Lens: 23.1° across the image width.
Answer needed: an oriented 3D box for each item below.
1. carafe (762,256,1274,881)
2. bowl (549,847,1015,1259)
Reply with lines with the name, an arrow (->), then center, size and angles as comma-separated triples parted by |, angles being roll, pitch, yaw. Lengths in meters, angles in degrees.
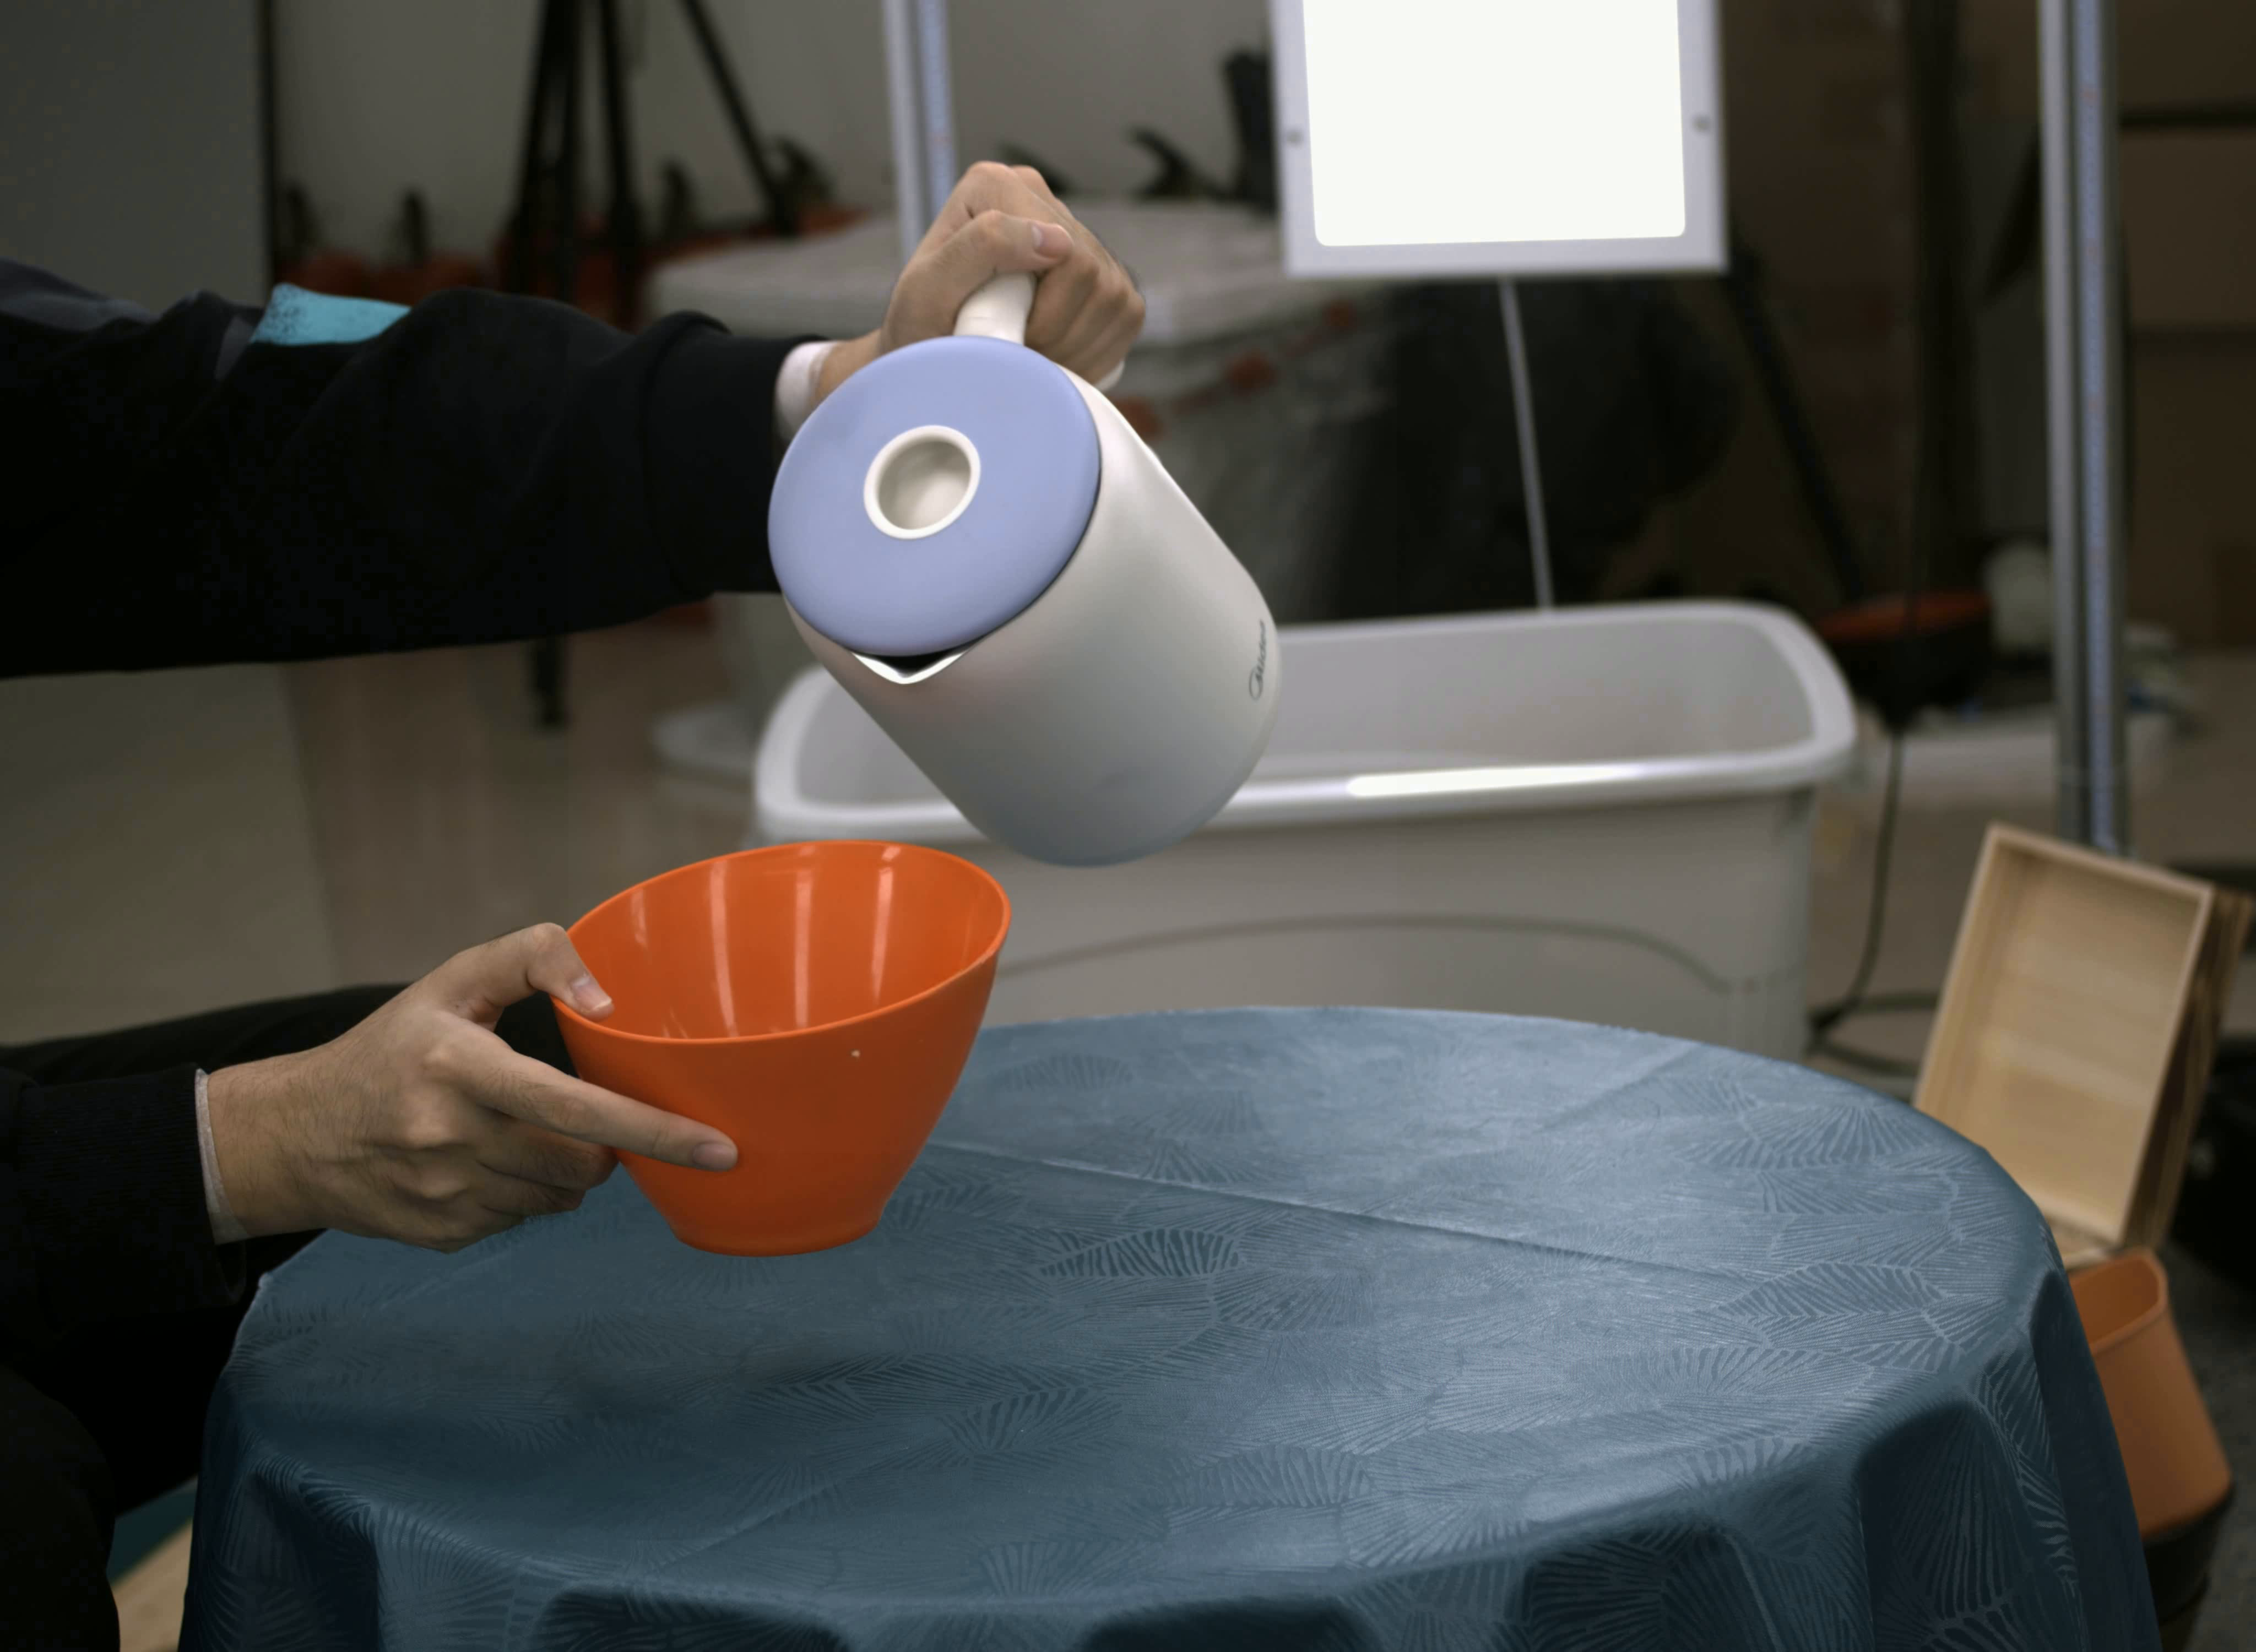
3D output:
carafe -> -0.034, -0.095, 1.880 | 0.134, 0.190, 0.180 | -5, -30, 21
bowl -> -0.108, 0.075, 1.743 | 0.147, 0.105, 0.148 | -2, 14, -1
